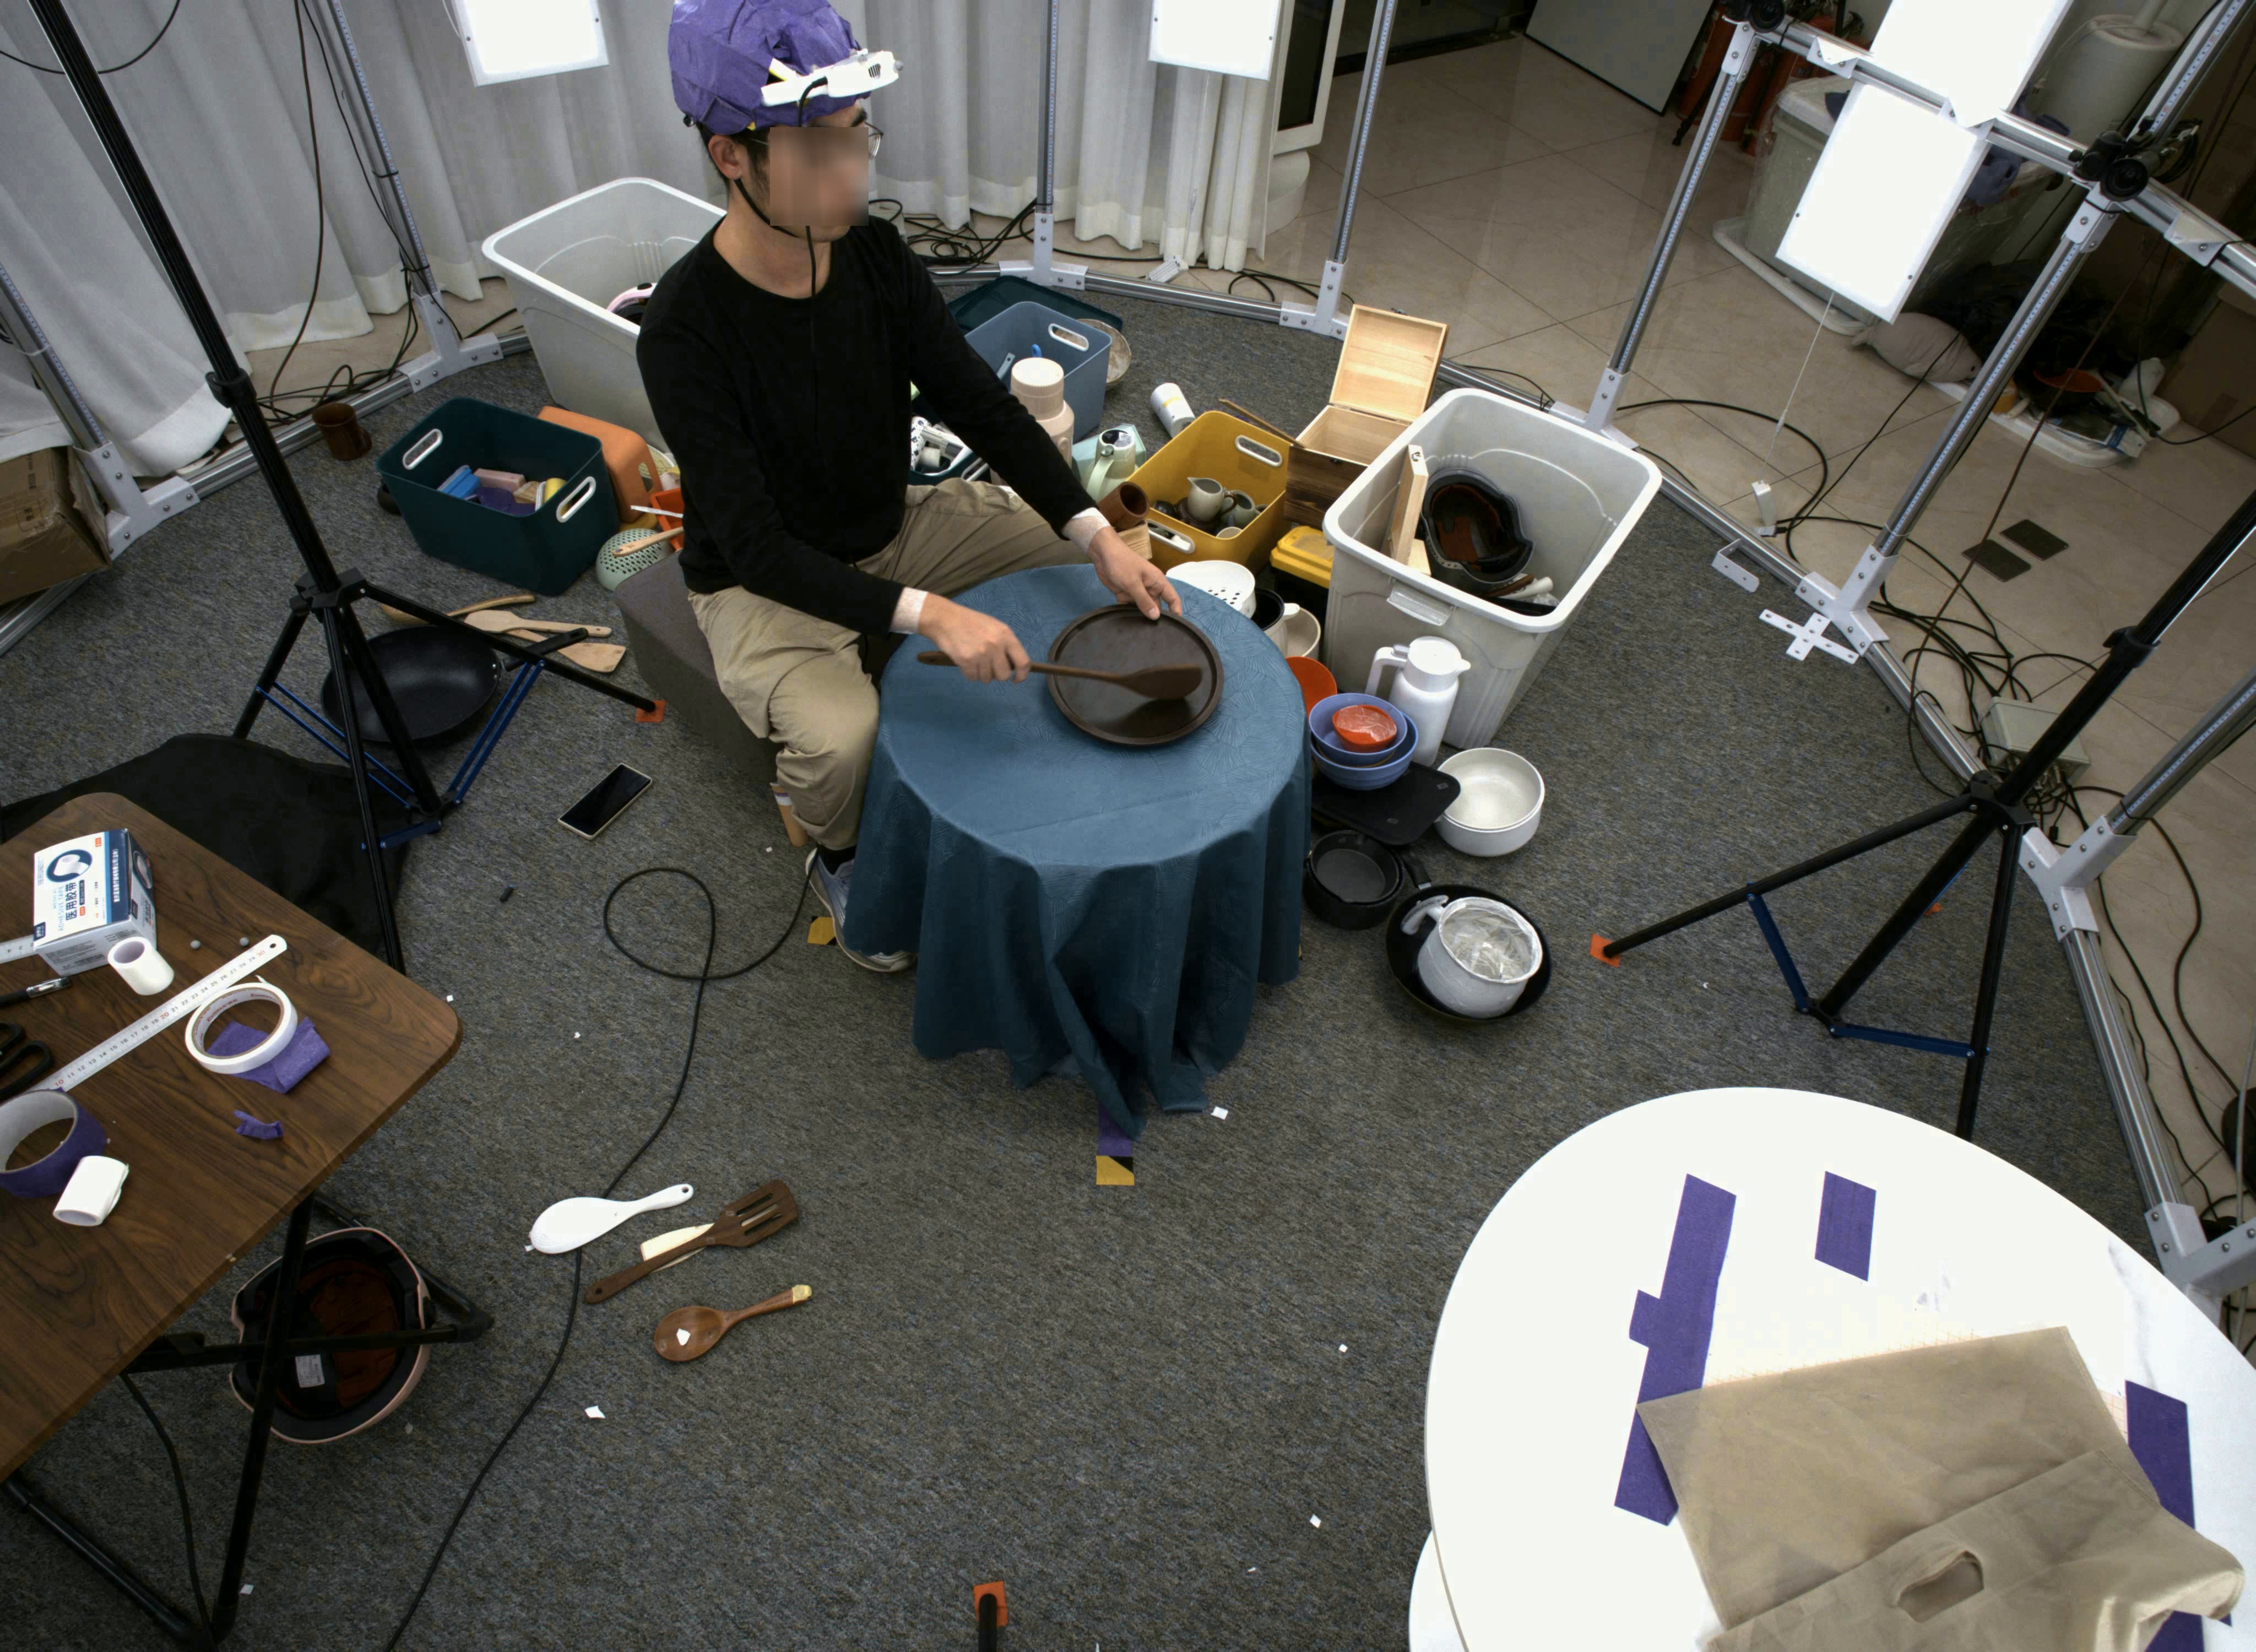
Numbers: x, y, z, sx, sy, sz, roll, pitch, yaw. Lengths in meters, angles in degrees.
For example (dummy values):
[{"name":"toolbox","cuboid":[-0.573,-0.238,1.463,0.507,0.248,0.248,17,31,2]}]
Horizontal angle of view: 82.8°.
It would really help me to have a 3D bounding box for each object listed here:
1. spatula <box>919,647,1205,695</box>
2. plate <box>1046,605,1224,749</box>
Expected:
[{"name":"spatula","cuboid":[-0.086,-0.214,1.735,0.385,0.094,0.016,5,67,-9]},{"name":"plate","cuboid":[0.010,-0.213,1.821,0.254,0.028,0.260,1,58,-2]}]
